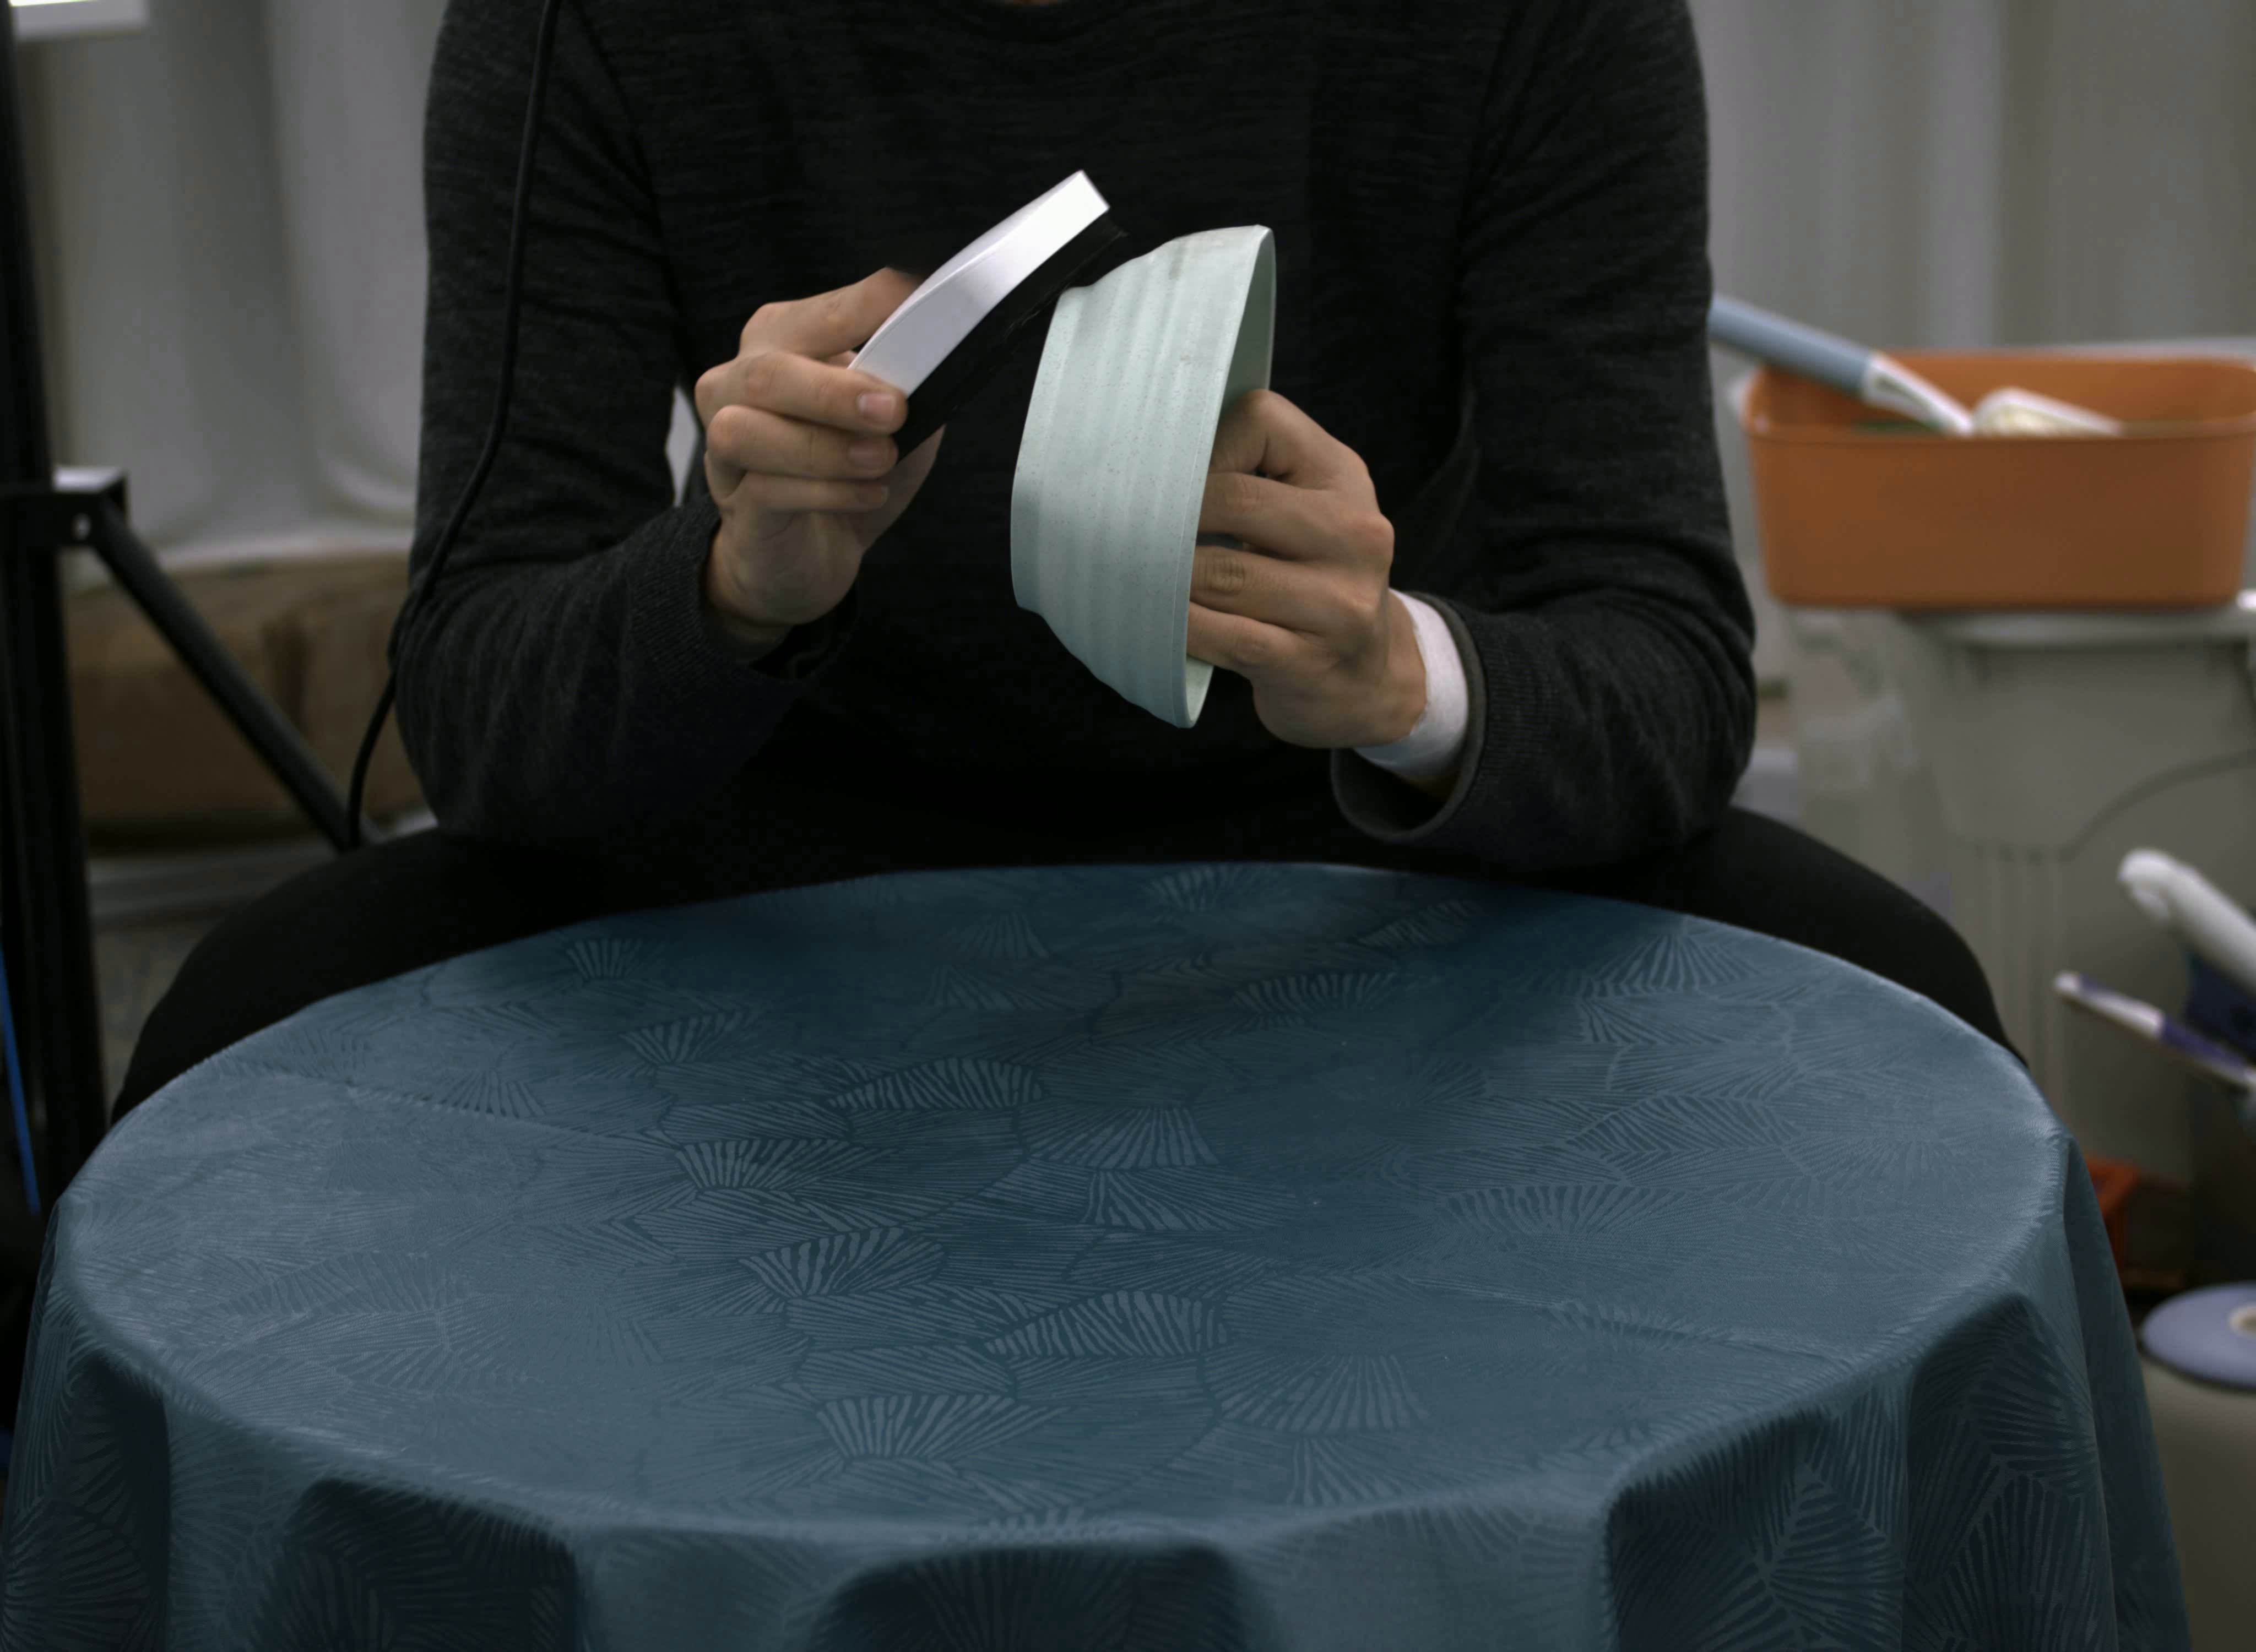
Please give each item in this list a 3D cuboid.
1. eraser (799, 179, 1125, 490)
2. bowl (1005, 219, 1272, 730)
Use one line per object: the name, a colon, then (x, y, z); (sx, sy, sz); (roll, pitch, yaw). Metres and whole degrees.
eraser: (-0.051, -0.149, 1.603); (0.062, 0.034, 0.133); (-42, 2, -35)
bowl: (0.001, -0.106, 1.563); (0.059, 0.151, 0.151); (10, 17, 8)
